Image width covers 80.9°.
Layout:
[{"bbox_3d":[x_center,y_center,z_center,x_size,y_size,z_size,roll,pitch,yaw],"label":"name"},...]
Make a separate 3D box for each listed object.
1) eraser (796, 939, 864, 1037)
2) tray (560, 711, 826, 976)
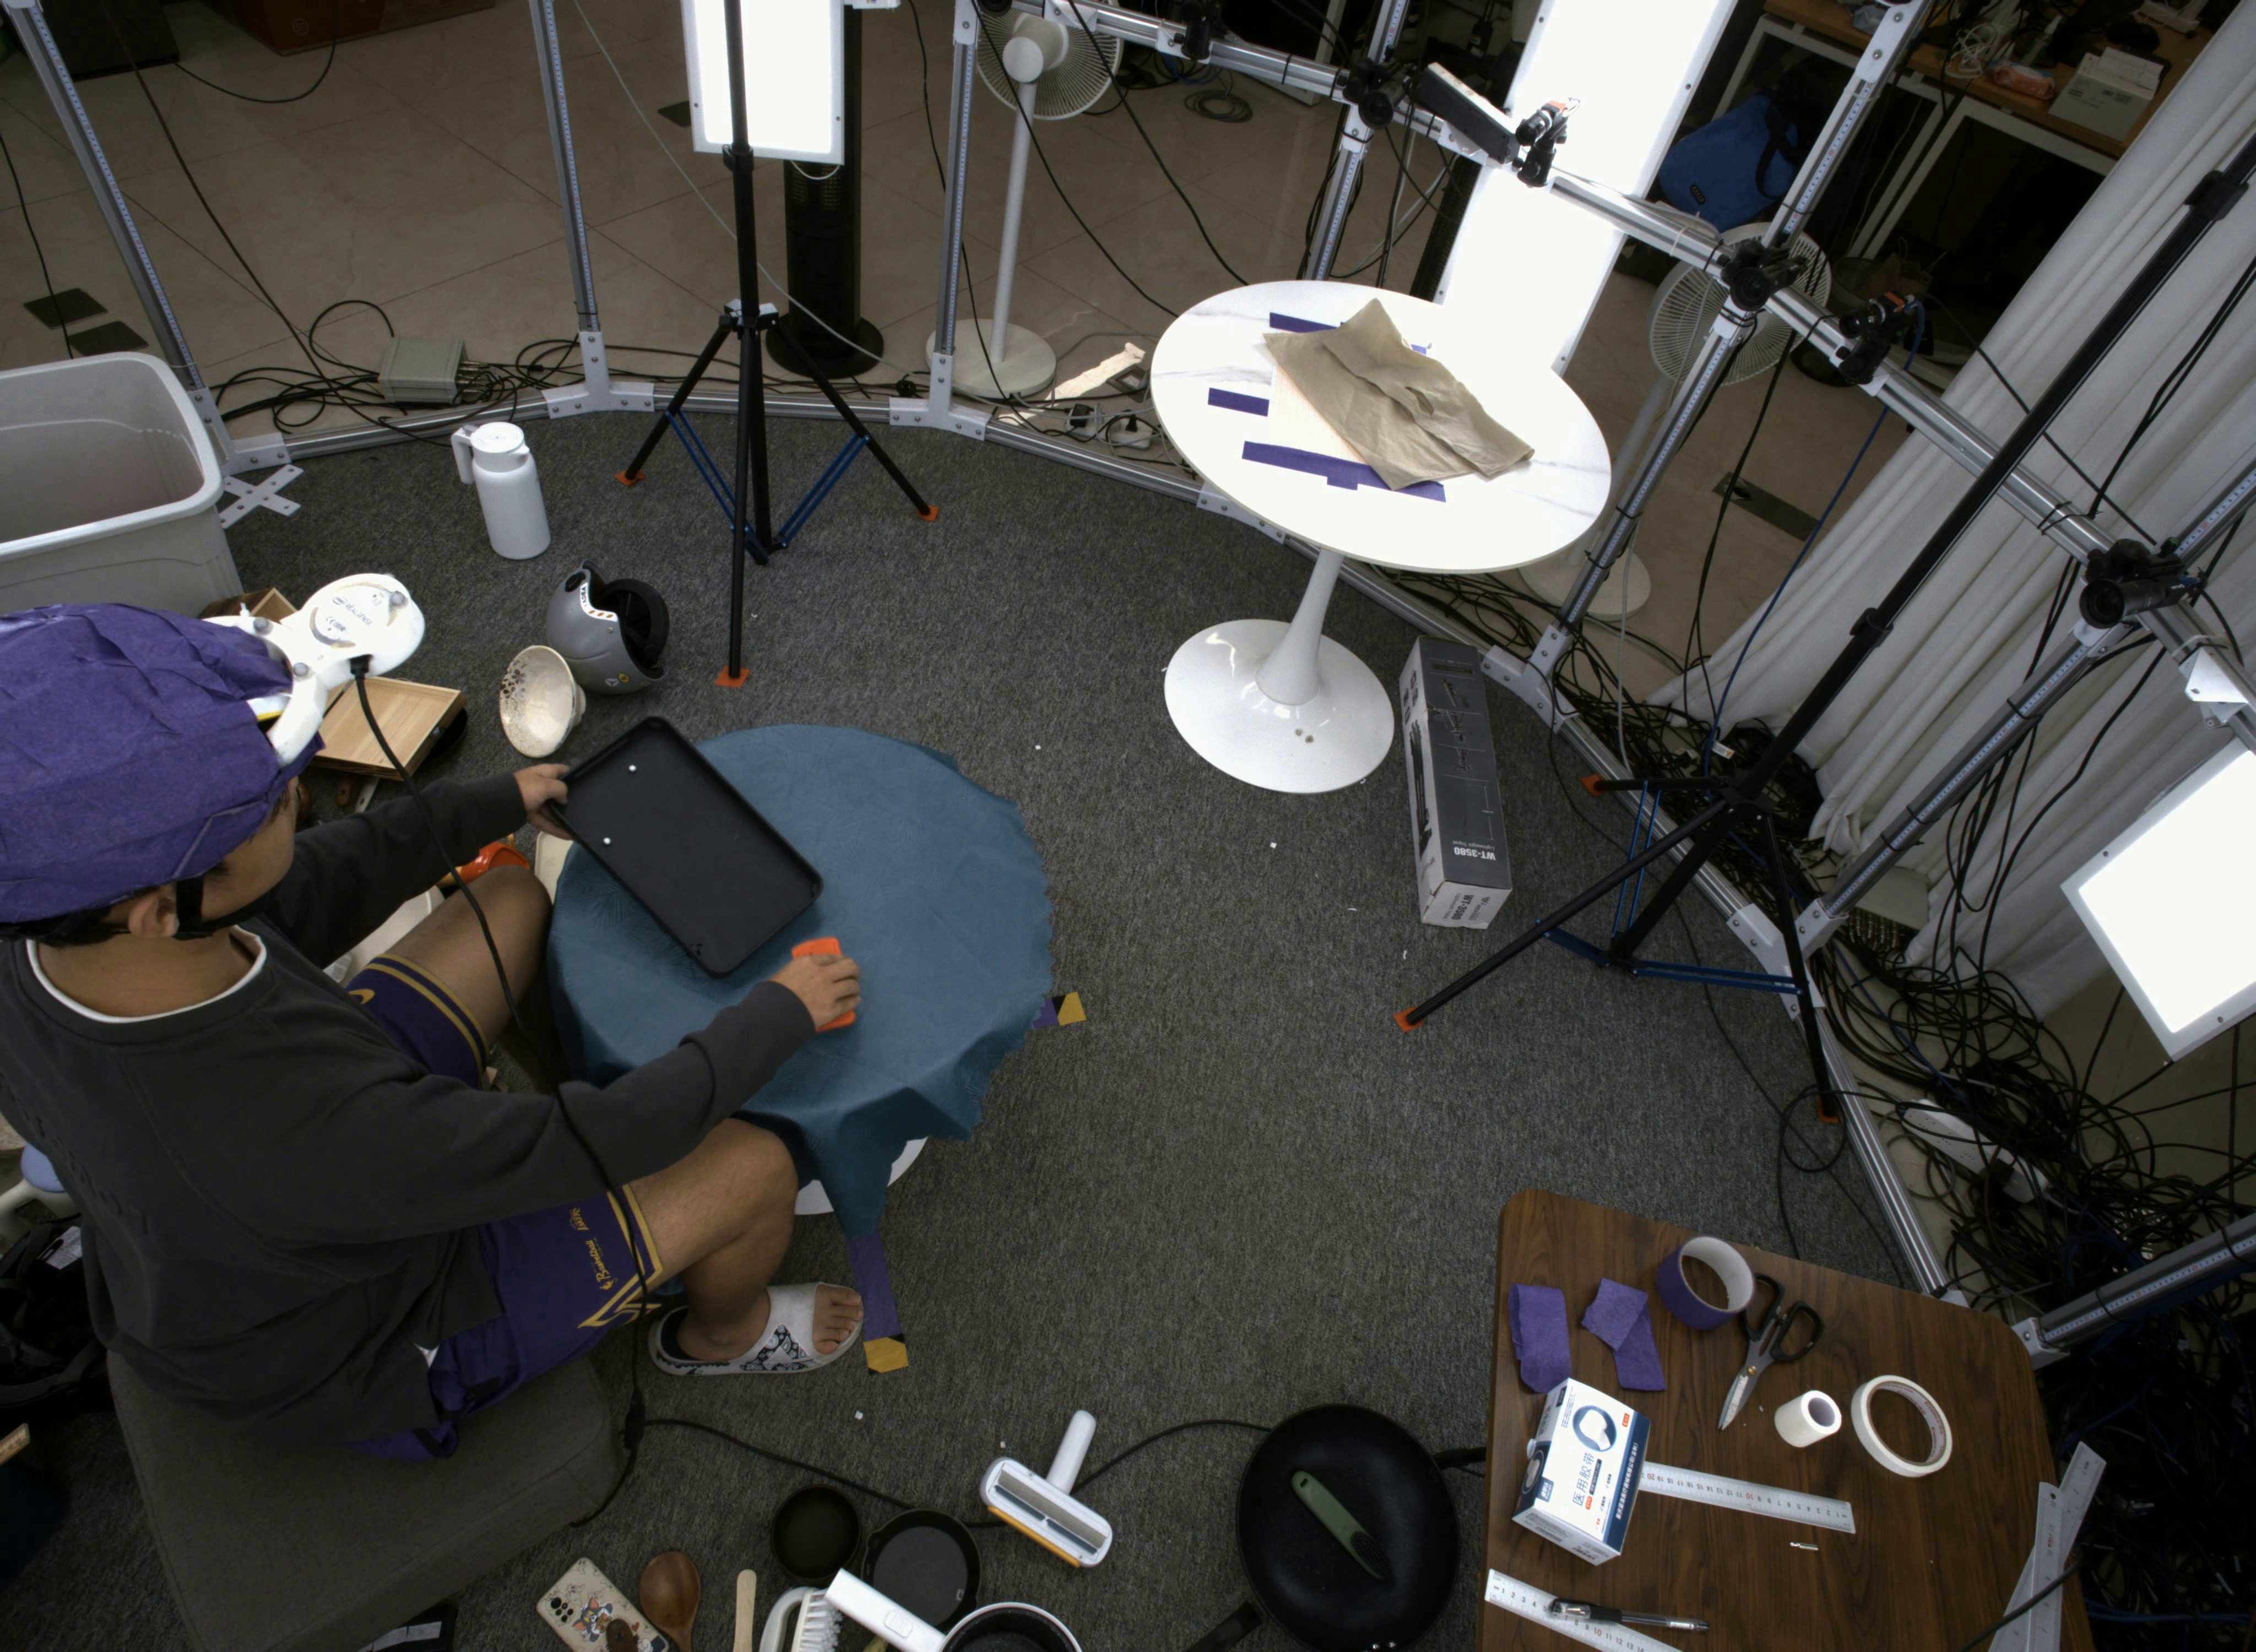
[{"bbox_3d":[-0.356,0.190,1.549,0.059,0.023,0.107,-16,75,-11],"label":"eraser"},{"bbox_3d":[-0.544,0.018,1.596,0.319,0.037,0.184,44,61,-2],"label":"tray"}]
